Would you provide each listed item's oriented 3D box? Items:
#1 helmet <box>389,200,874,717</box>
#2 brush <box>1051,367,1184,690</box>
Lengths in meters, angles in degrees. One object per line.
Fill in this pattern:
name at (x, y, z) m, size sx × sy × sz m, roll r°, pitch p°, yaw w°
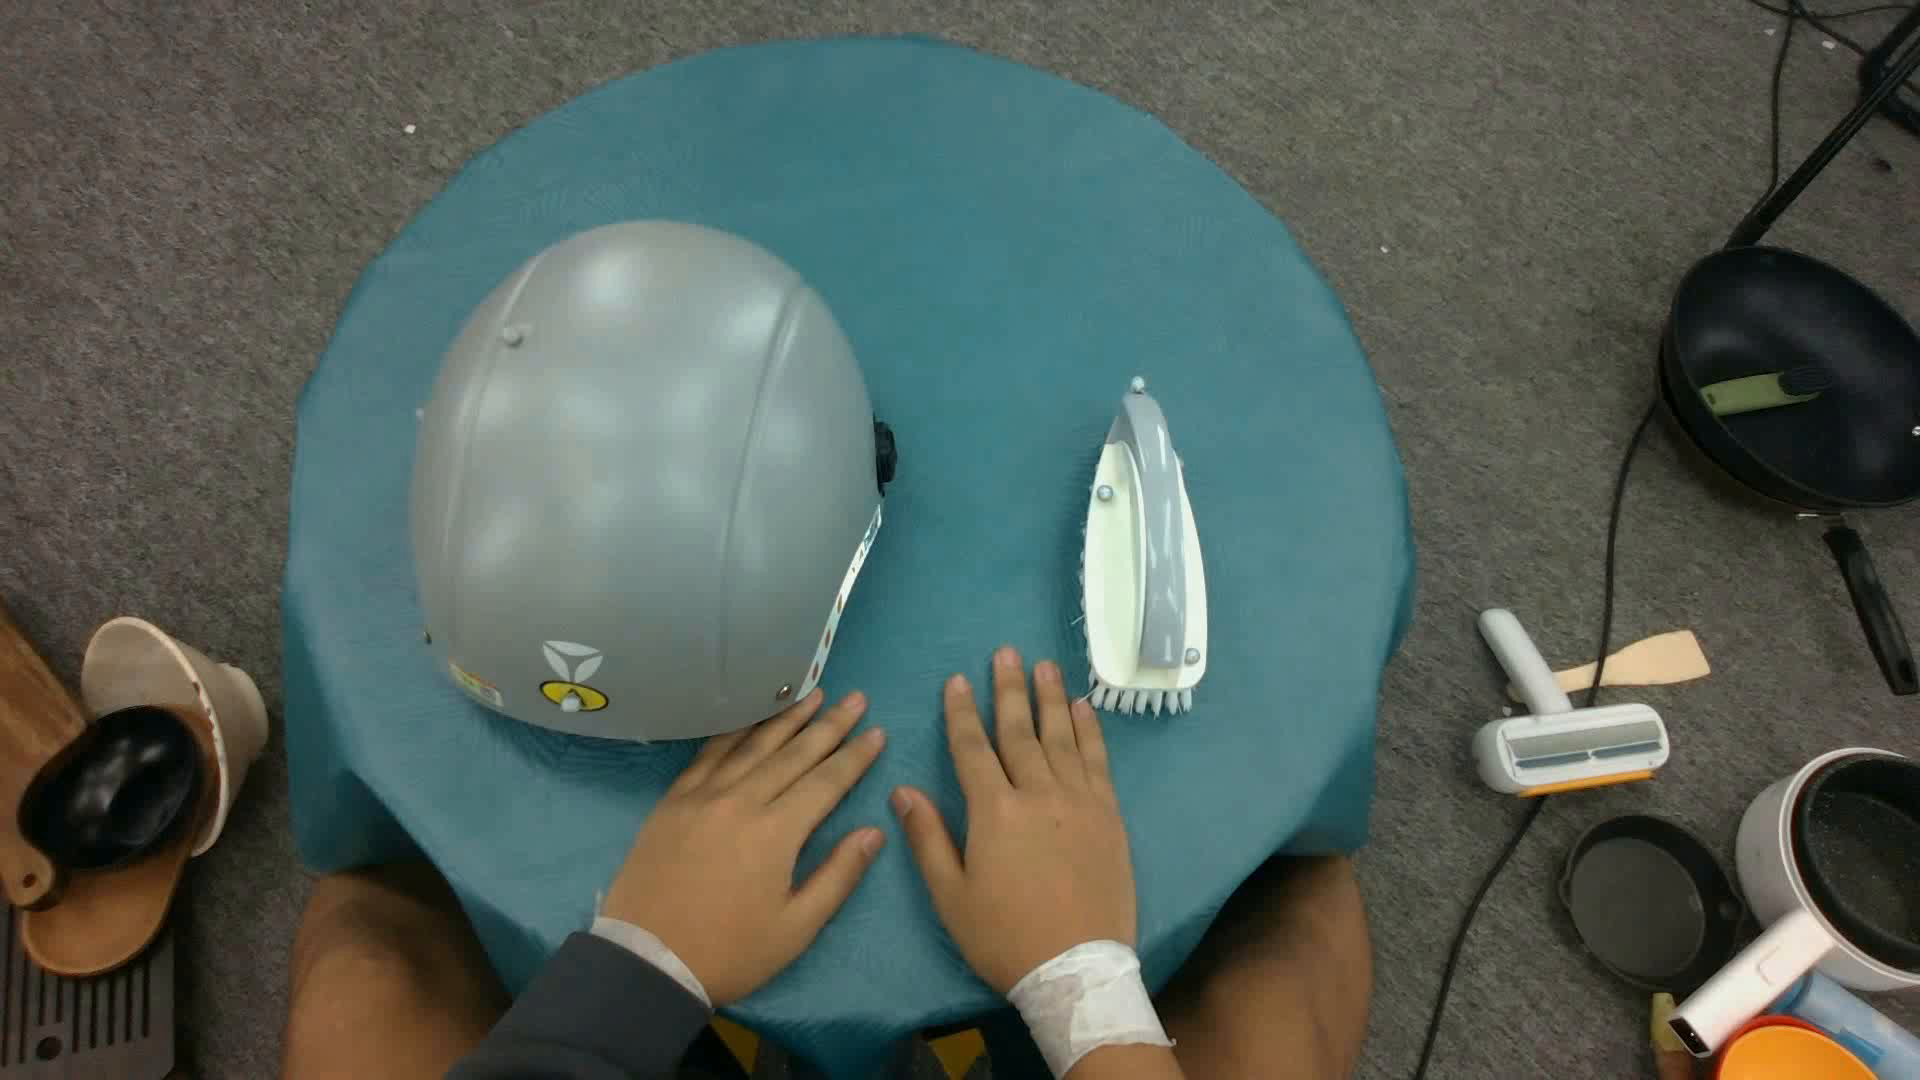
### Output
helmet at (-0.157, -0.061, 0.651) m, size 0.232 × 0.168 × 0.277 m, roll 9°, pitch 62°, yaw -4°
brush at (0.082, -0.020, 0.697) m, size 0.061 × 0.094 × 0.176 m, roll 3°, pitch 62°, yaw -8°
